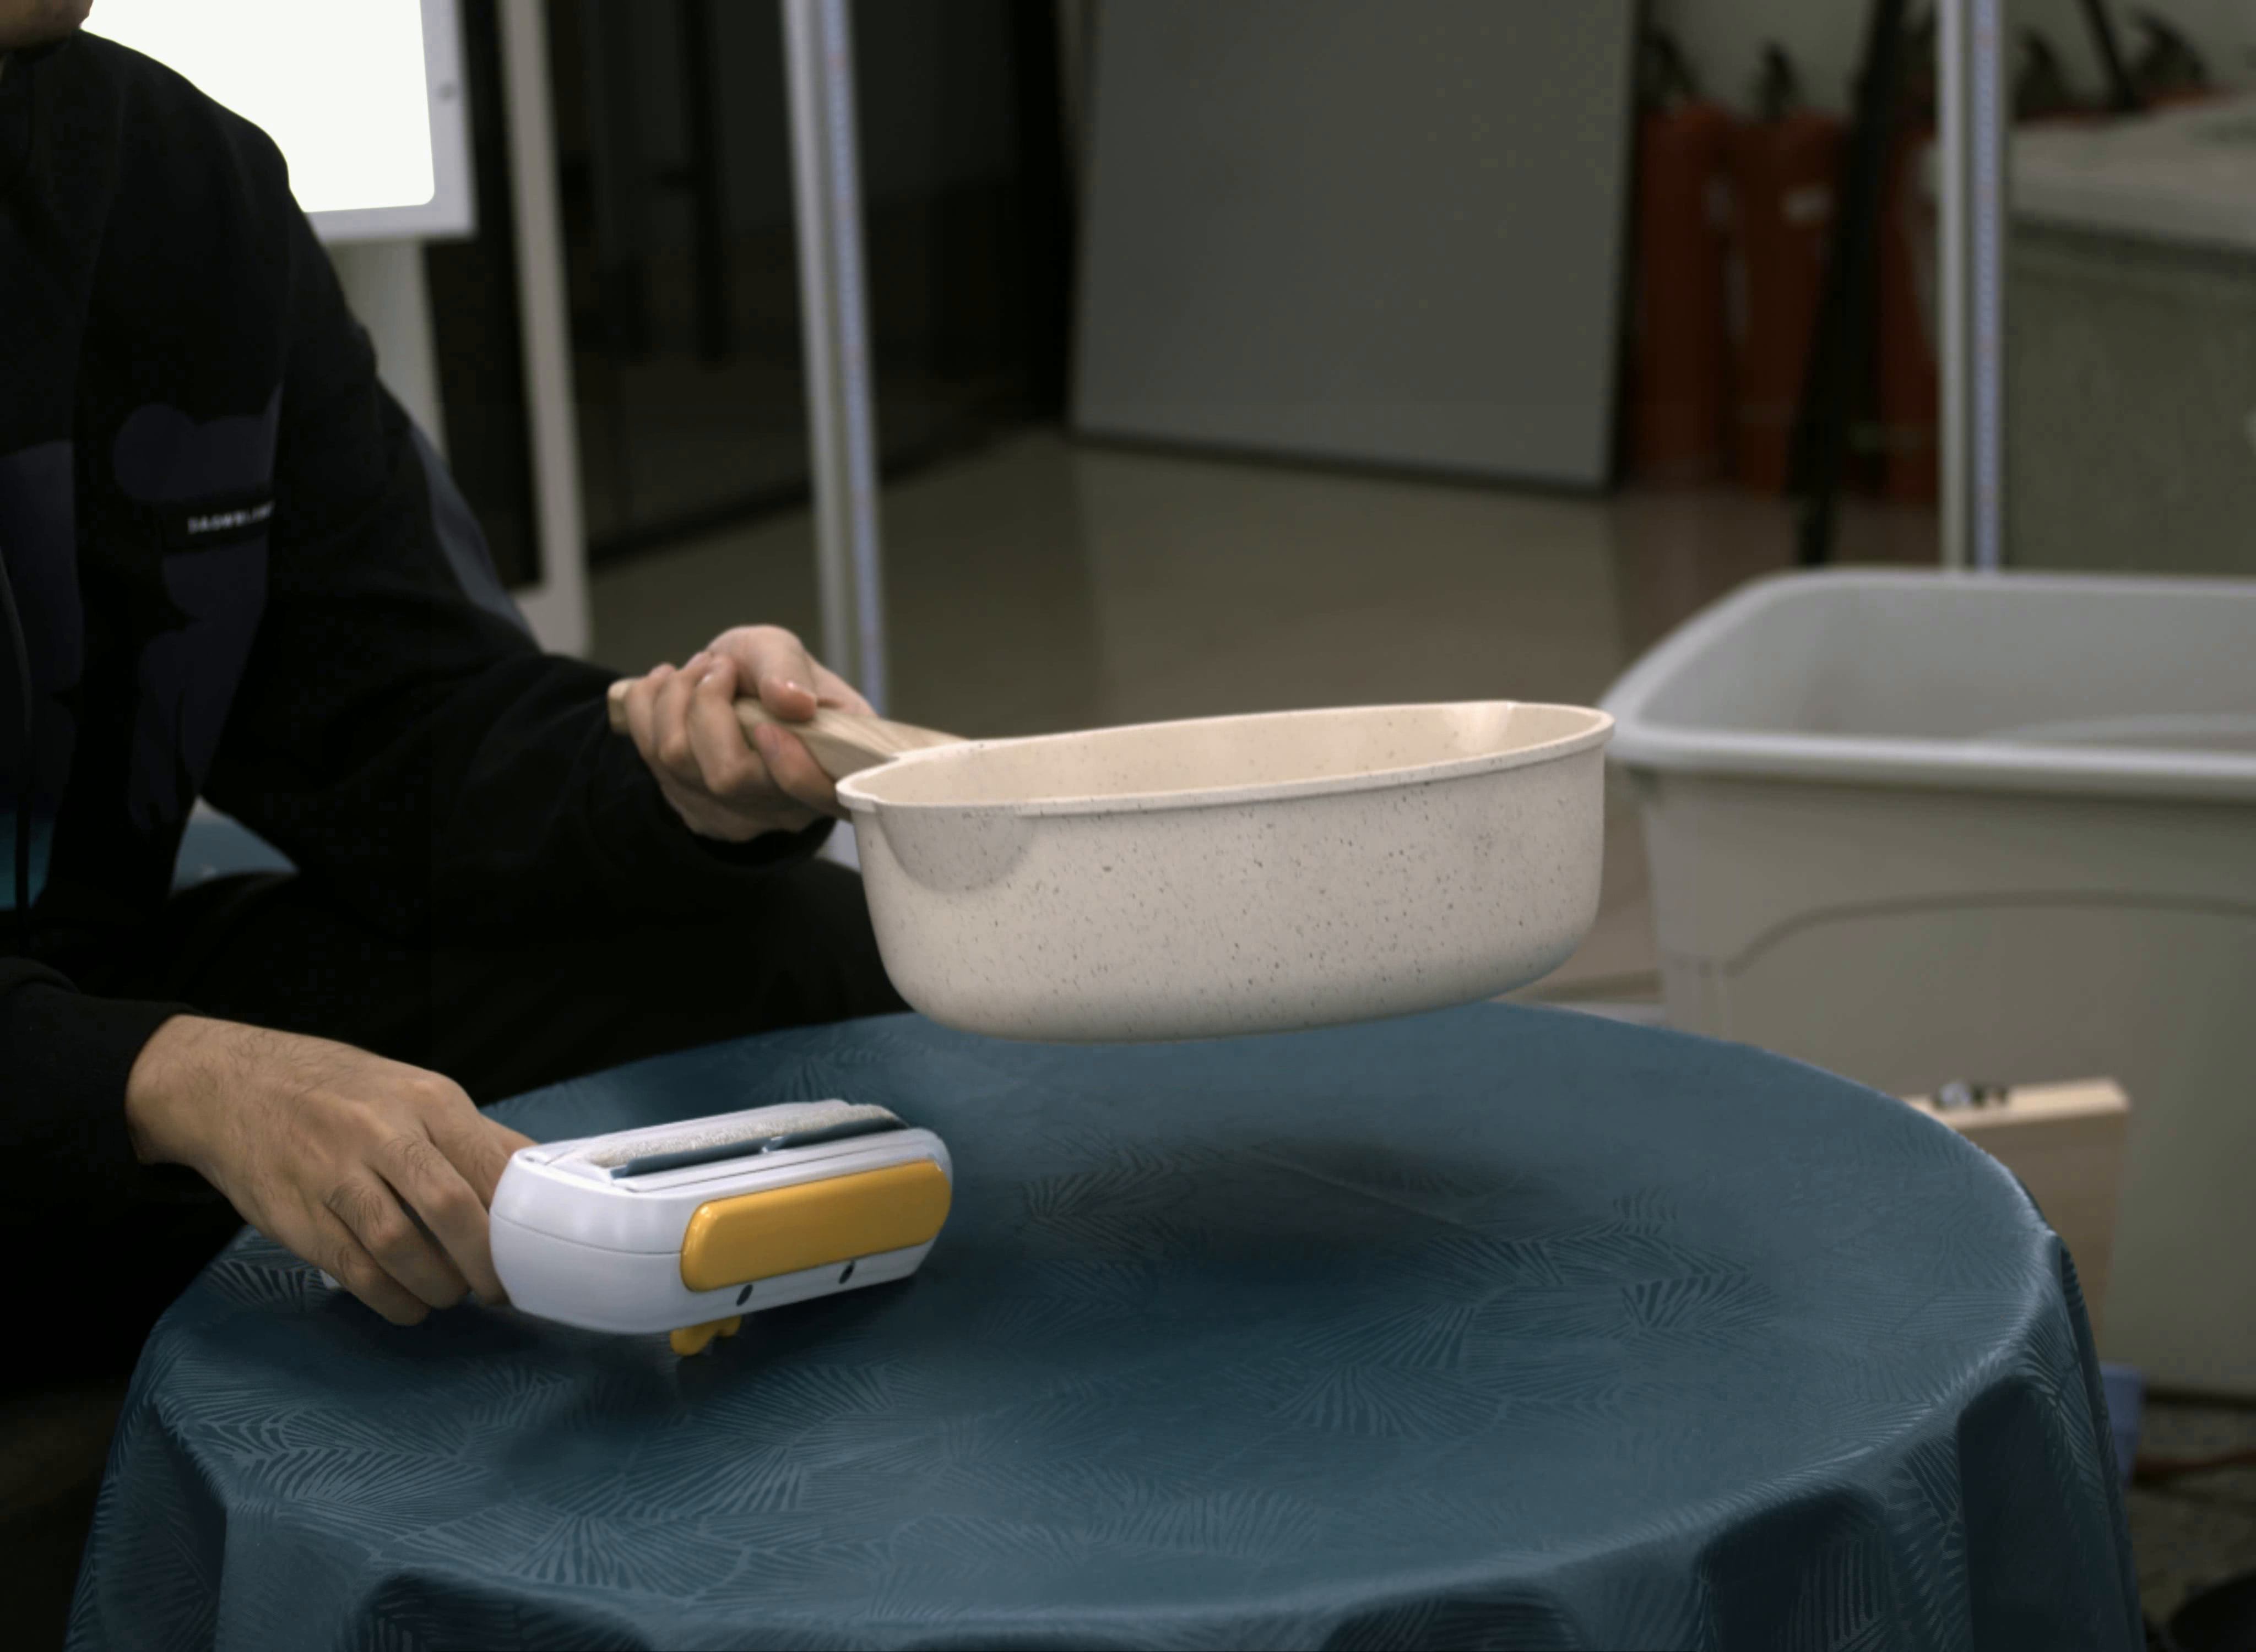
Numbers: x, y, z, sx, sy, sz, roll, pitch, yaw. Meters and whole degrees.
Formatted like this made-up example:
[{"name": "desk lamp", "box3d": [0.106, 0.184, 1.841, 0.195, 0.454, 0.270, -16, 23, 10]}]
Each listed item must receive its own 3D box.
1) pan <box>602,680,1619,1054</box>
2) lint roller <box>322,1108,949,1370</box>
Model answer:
[{"name": "pan", "box3d": [-0.026, 0.006, 1.791, 0.258, 0.103, 0.439, -14, 9, -42]}, {"name": "lint roller", "box3d": [-0.173, 0.124, 1.673, 0.193, 0.075, 0.189, 2, 8, 34]}]
